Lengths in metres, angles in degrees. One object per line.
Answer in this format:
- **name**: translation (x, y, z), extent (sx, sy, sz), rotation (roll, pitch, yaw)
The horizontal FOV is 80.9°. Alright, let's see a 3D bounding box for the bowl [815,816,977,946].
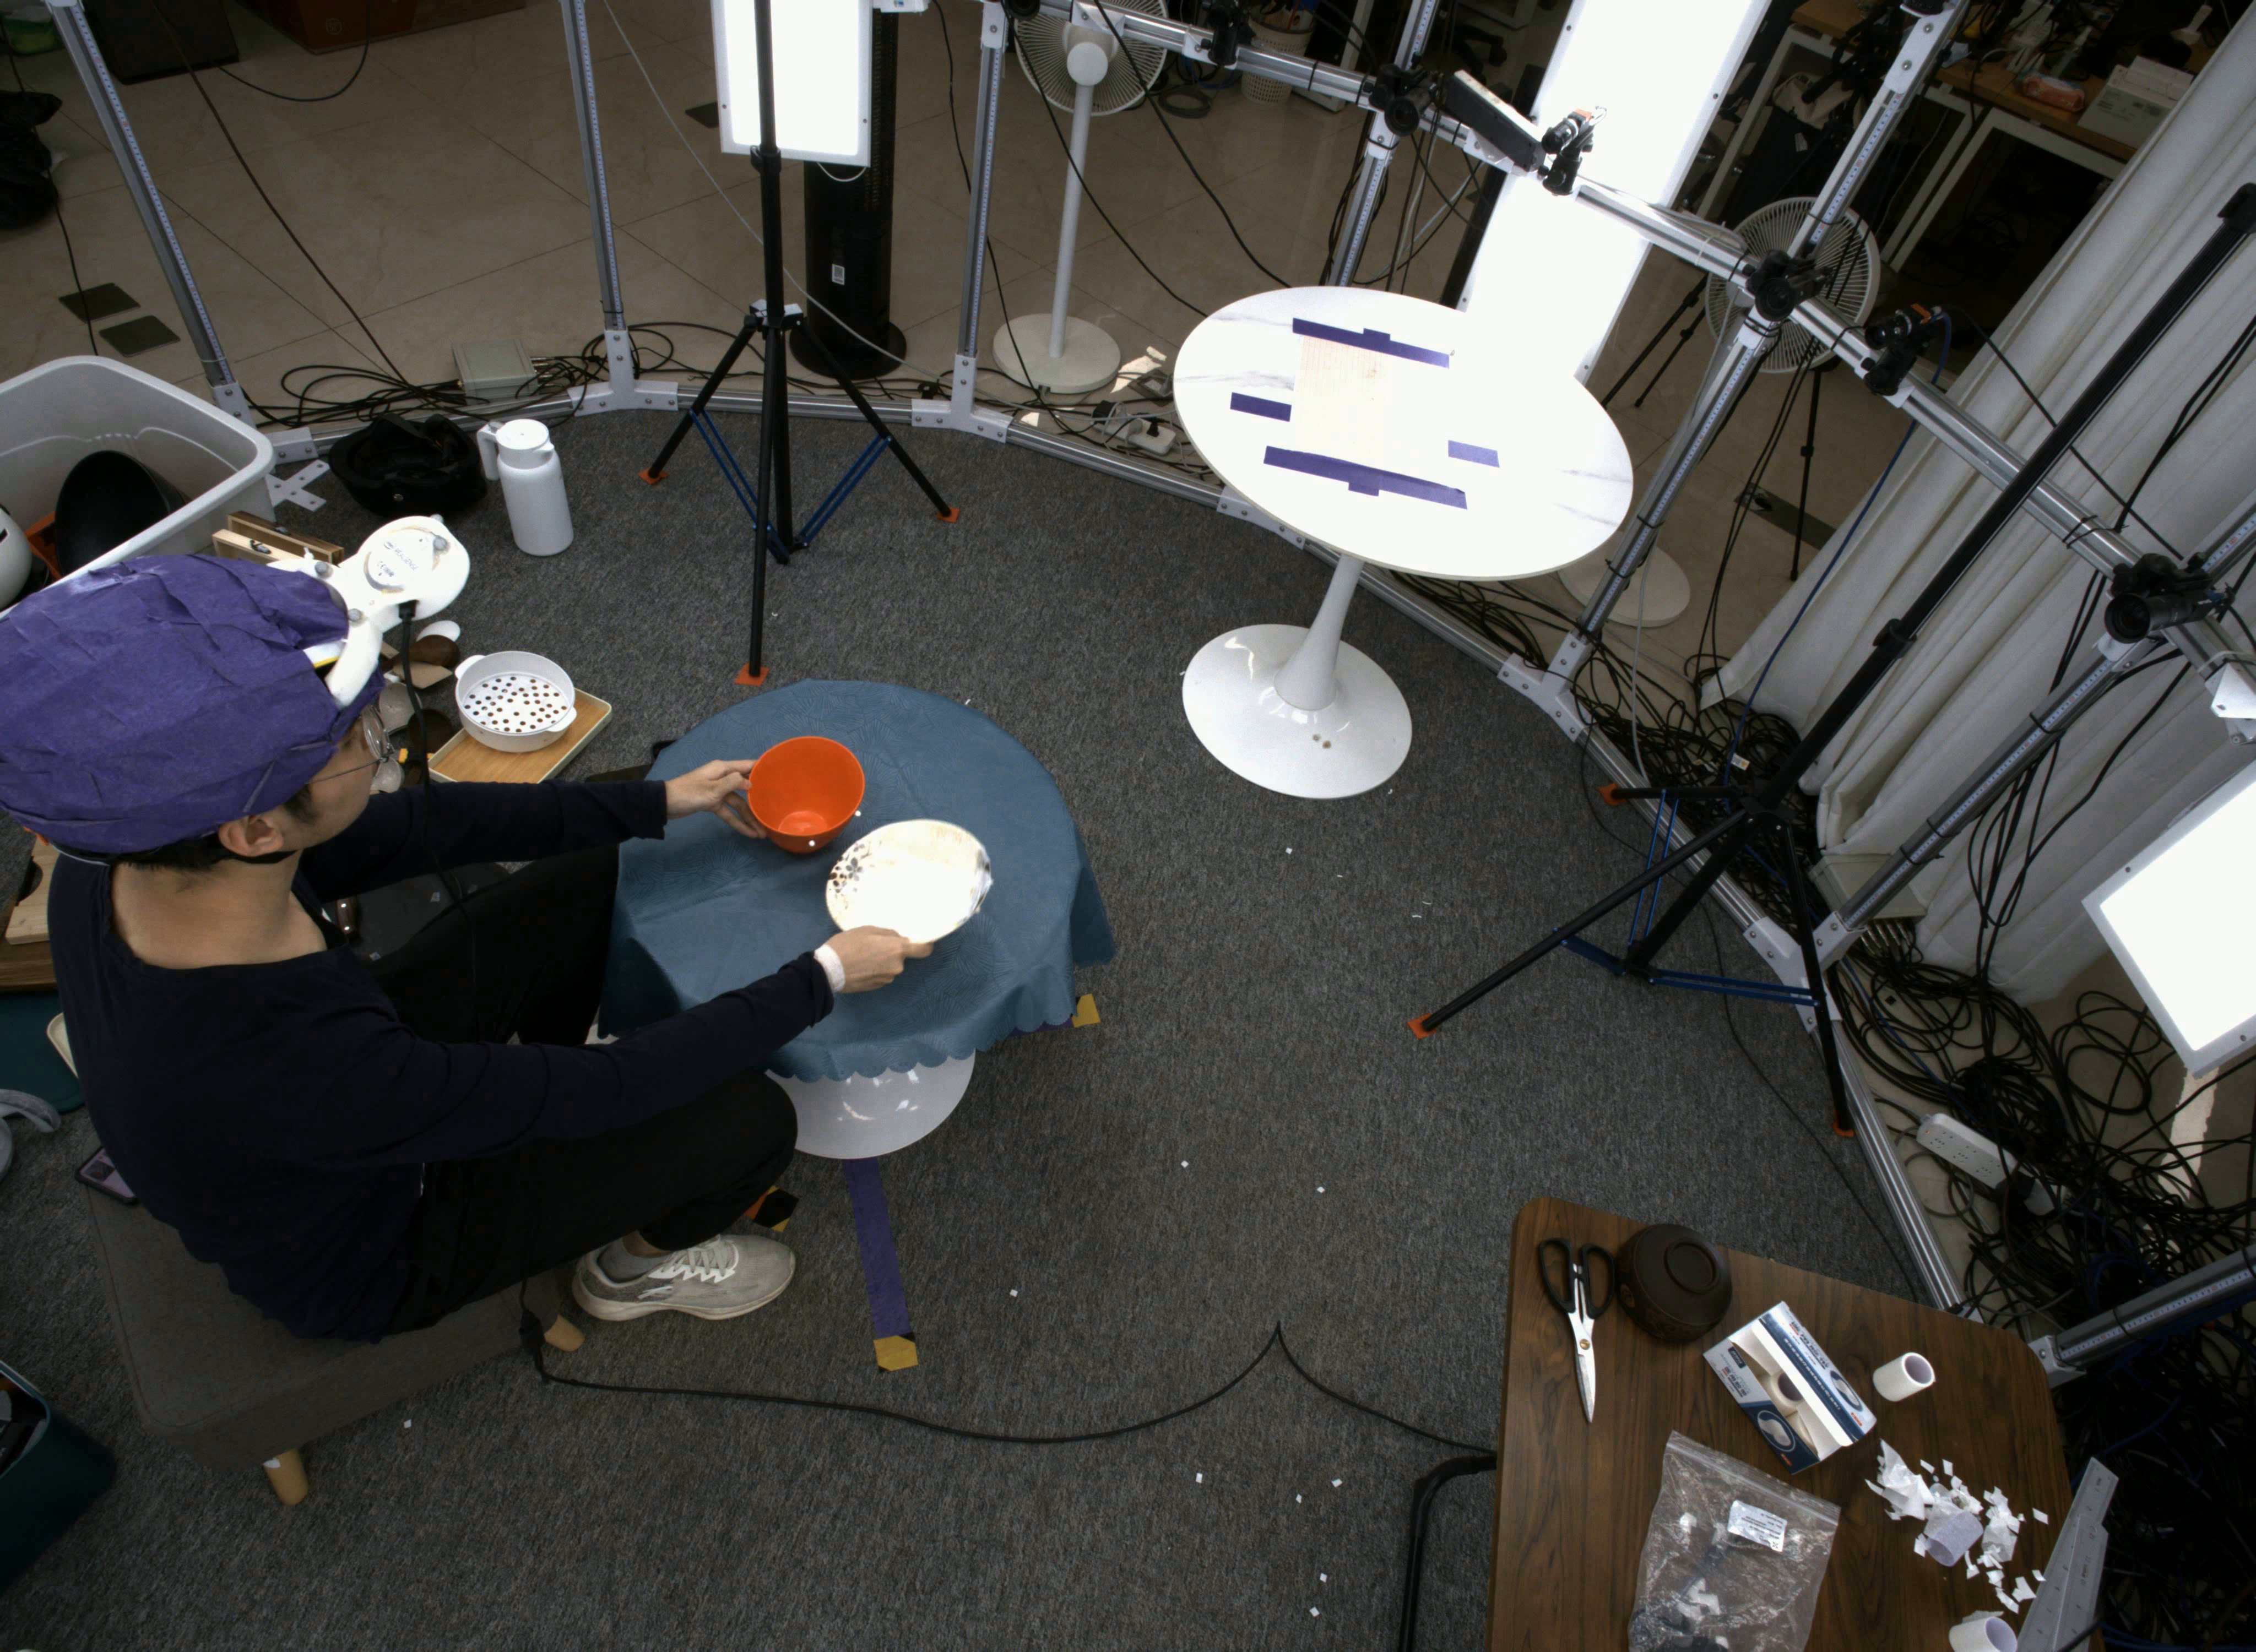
- **bowl**: translation (-0.278, 0.086, 1.610), extent (0.201, 0.081, 0.200), rotation (-3, 49, 5)

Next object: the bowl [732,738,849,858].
- **bowl**: translation (-0.436, -0.025, 1.687), extent (0.147, 0.107, 0.145), rotation (7, 54, -7)
